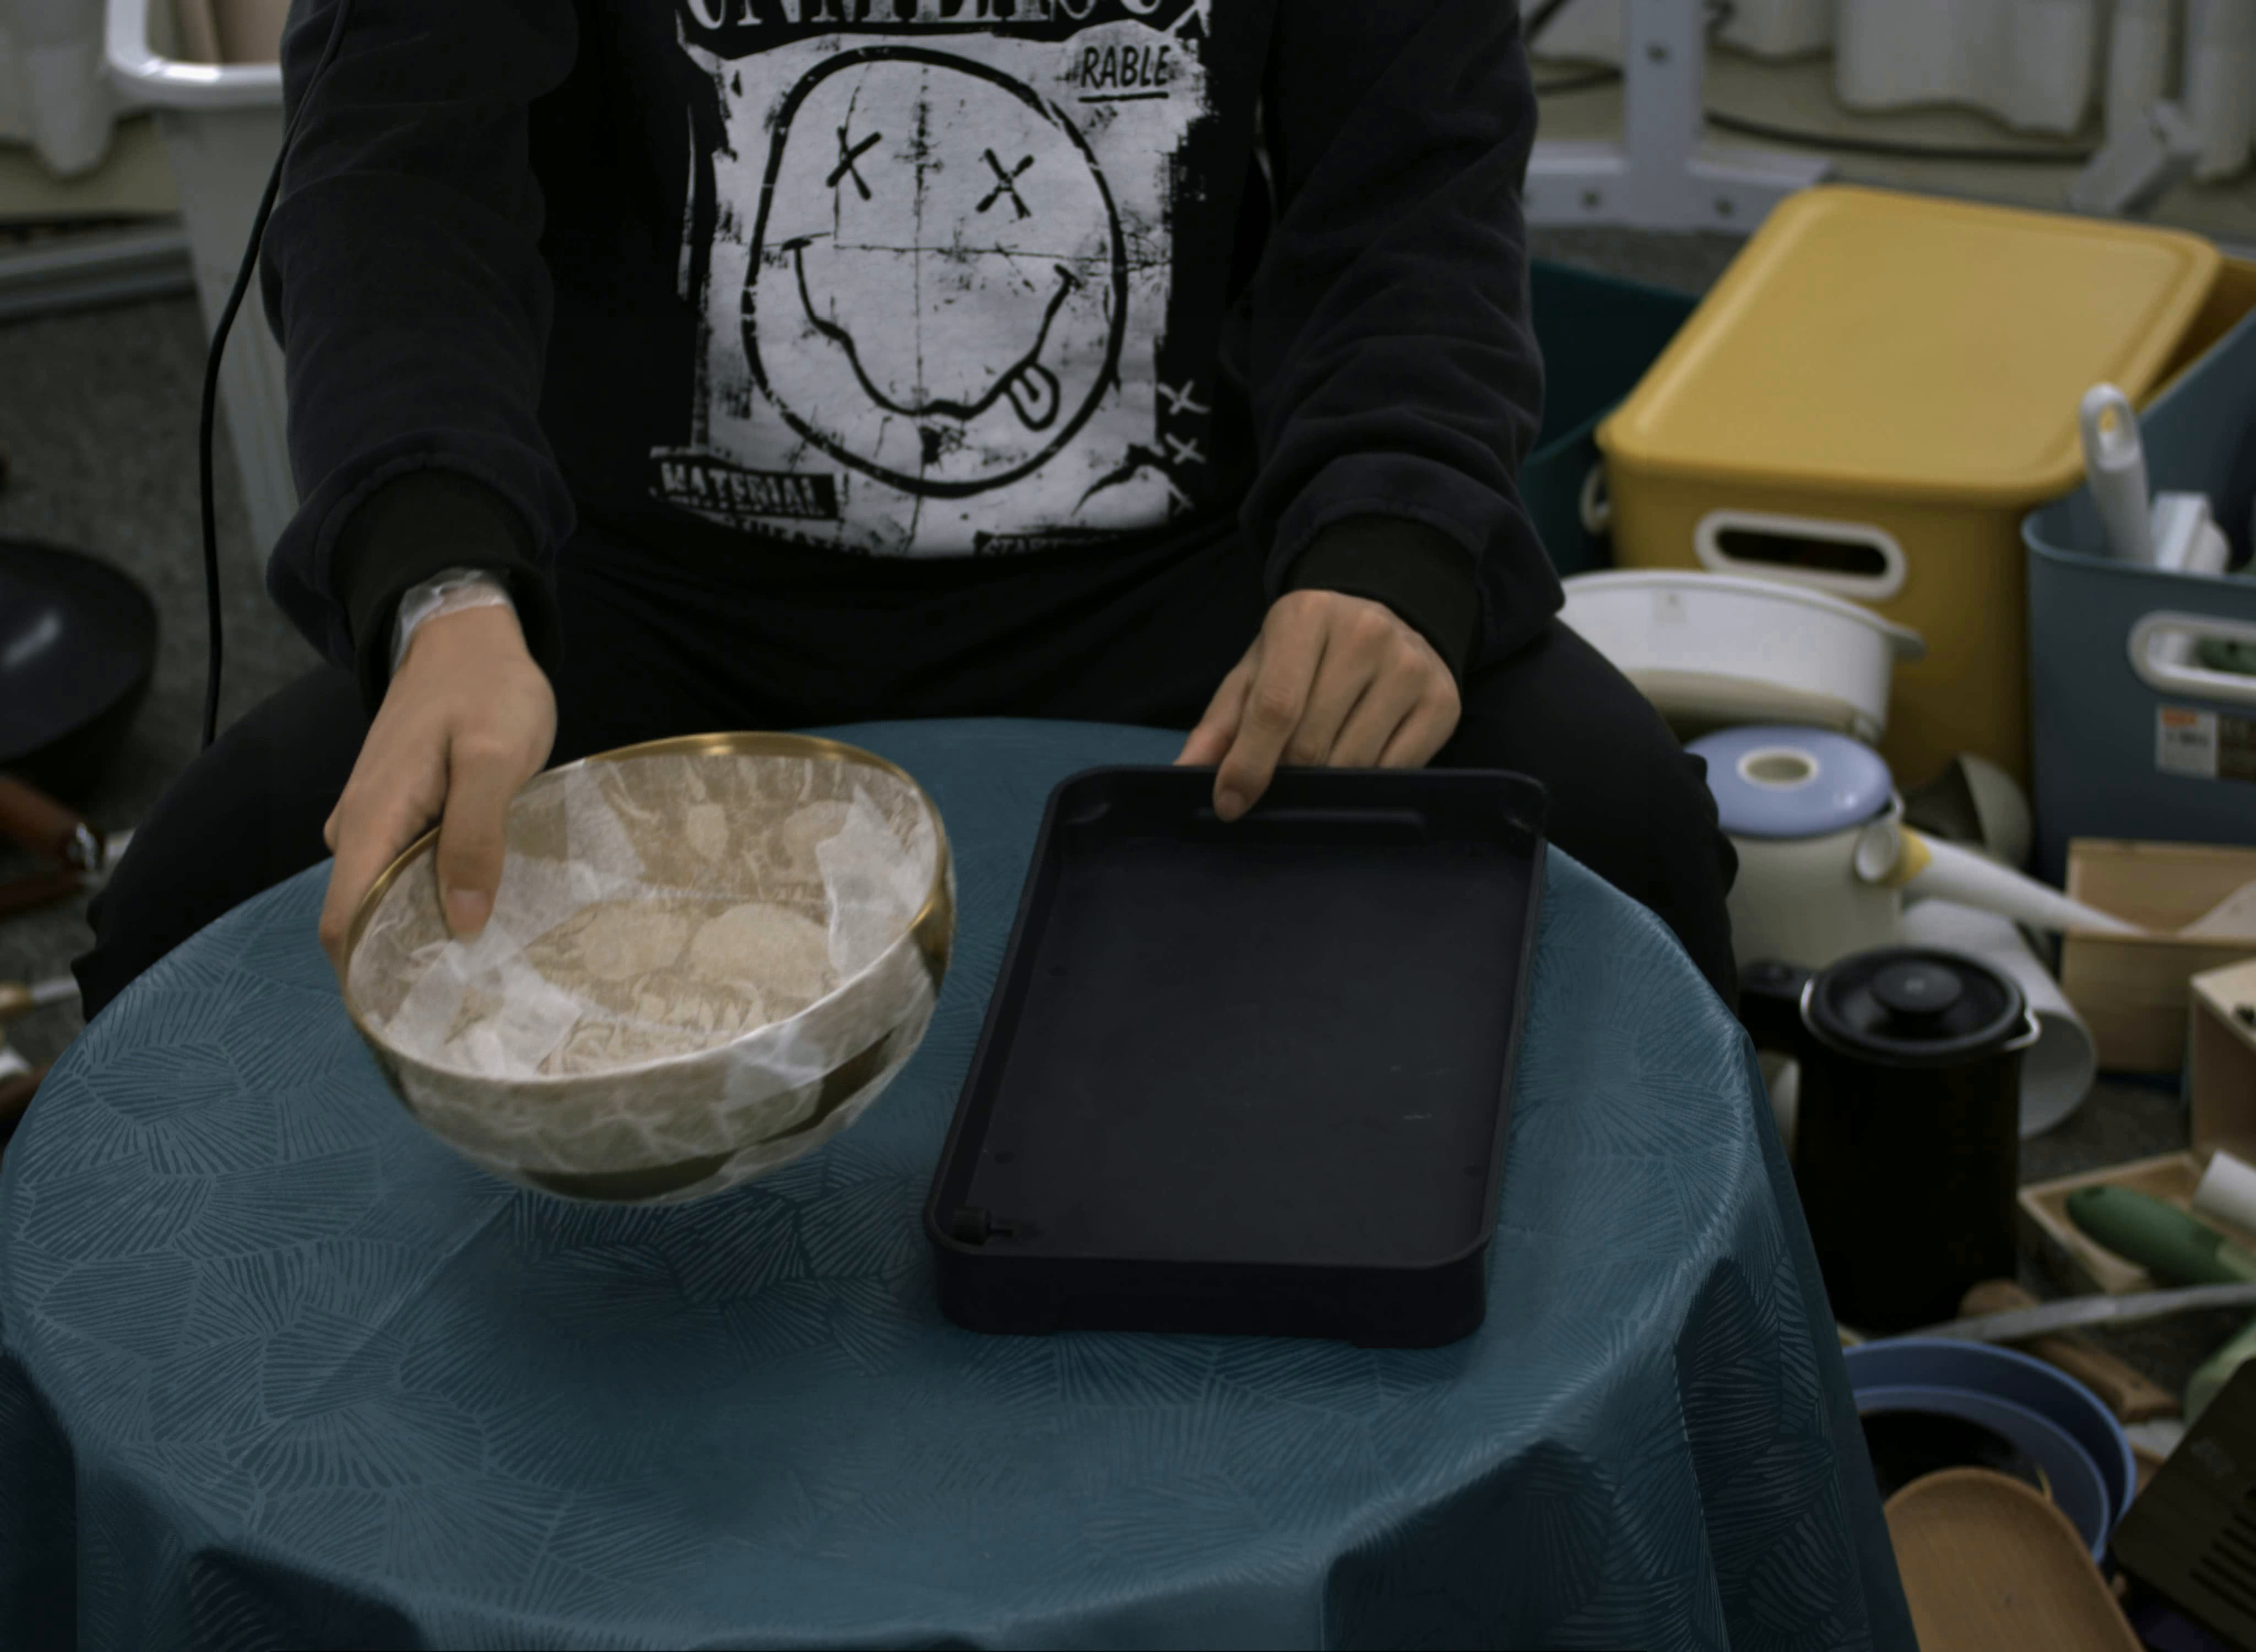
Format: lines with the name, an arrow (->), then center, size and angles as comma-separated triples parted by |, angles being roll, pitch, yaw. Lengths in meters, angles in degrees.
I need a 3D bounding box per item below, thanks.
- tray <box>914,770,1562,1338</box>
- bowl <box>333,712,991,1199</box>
tray -> 0.044, 0.070, 1.903 | 0.183, 0.036, 0.323 | 1, 28, 10
bowl -> -0.142, 0.055, 1.808 | 0.213, 0.093, 0.218 | -9, 30, 6
